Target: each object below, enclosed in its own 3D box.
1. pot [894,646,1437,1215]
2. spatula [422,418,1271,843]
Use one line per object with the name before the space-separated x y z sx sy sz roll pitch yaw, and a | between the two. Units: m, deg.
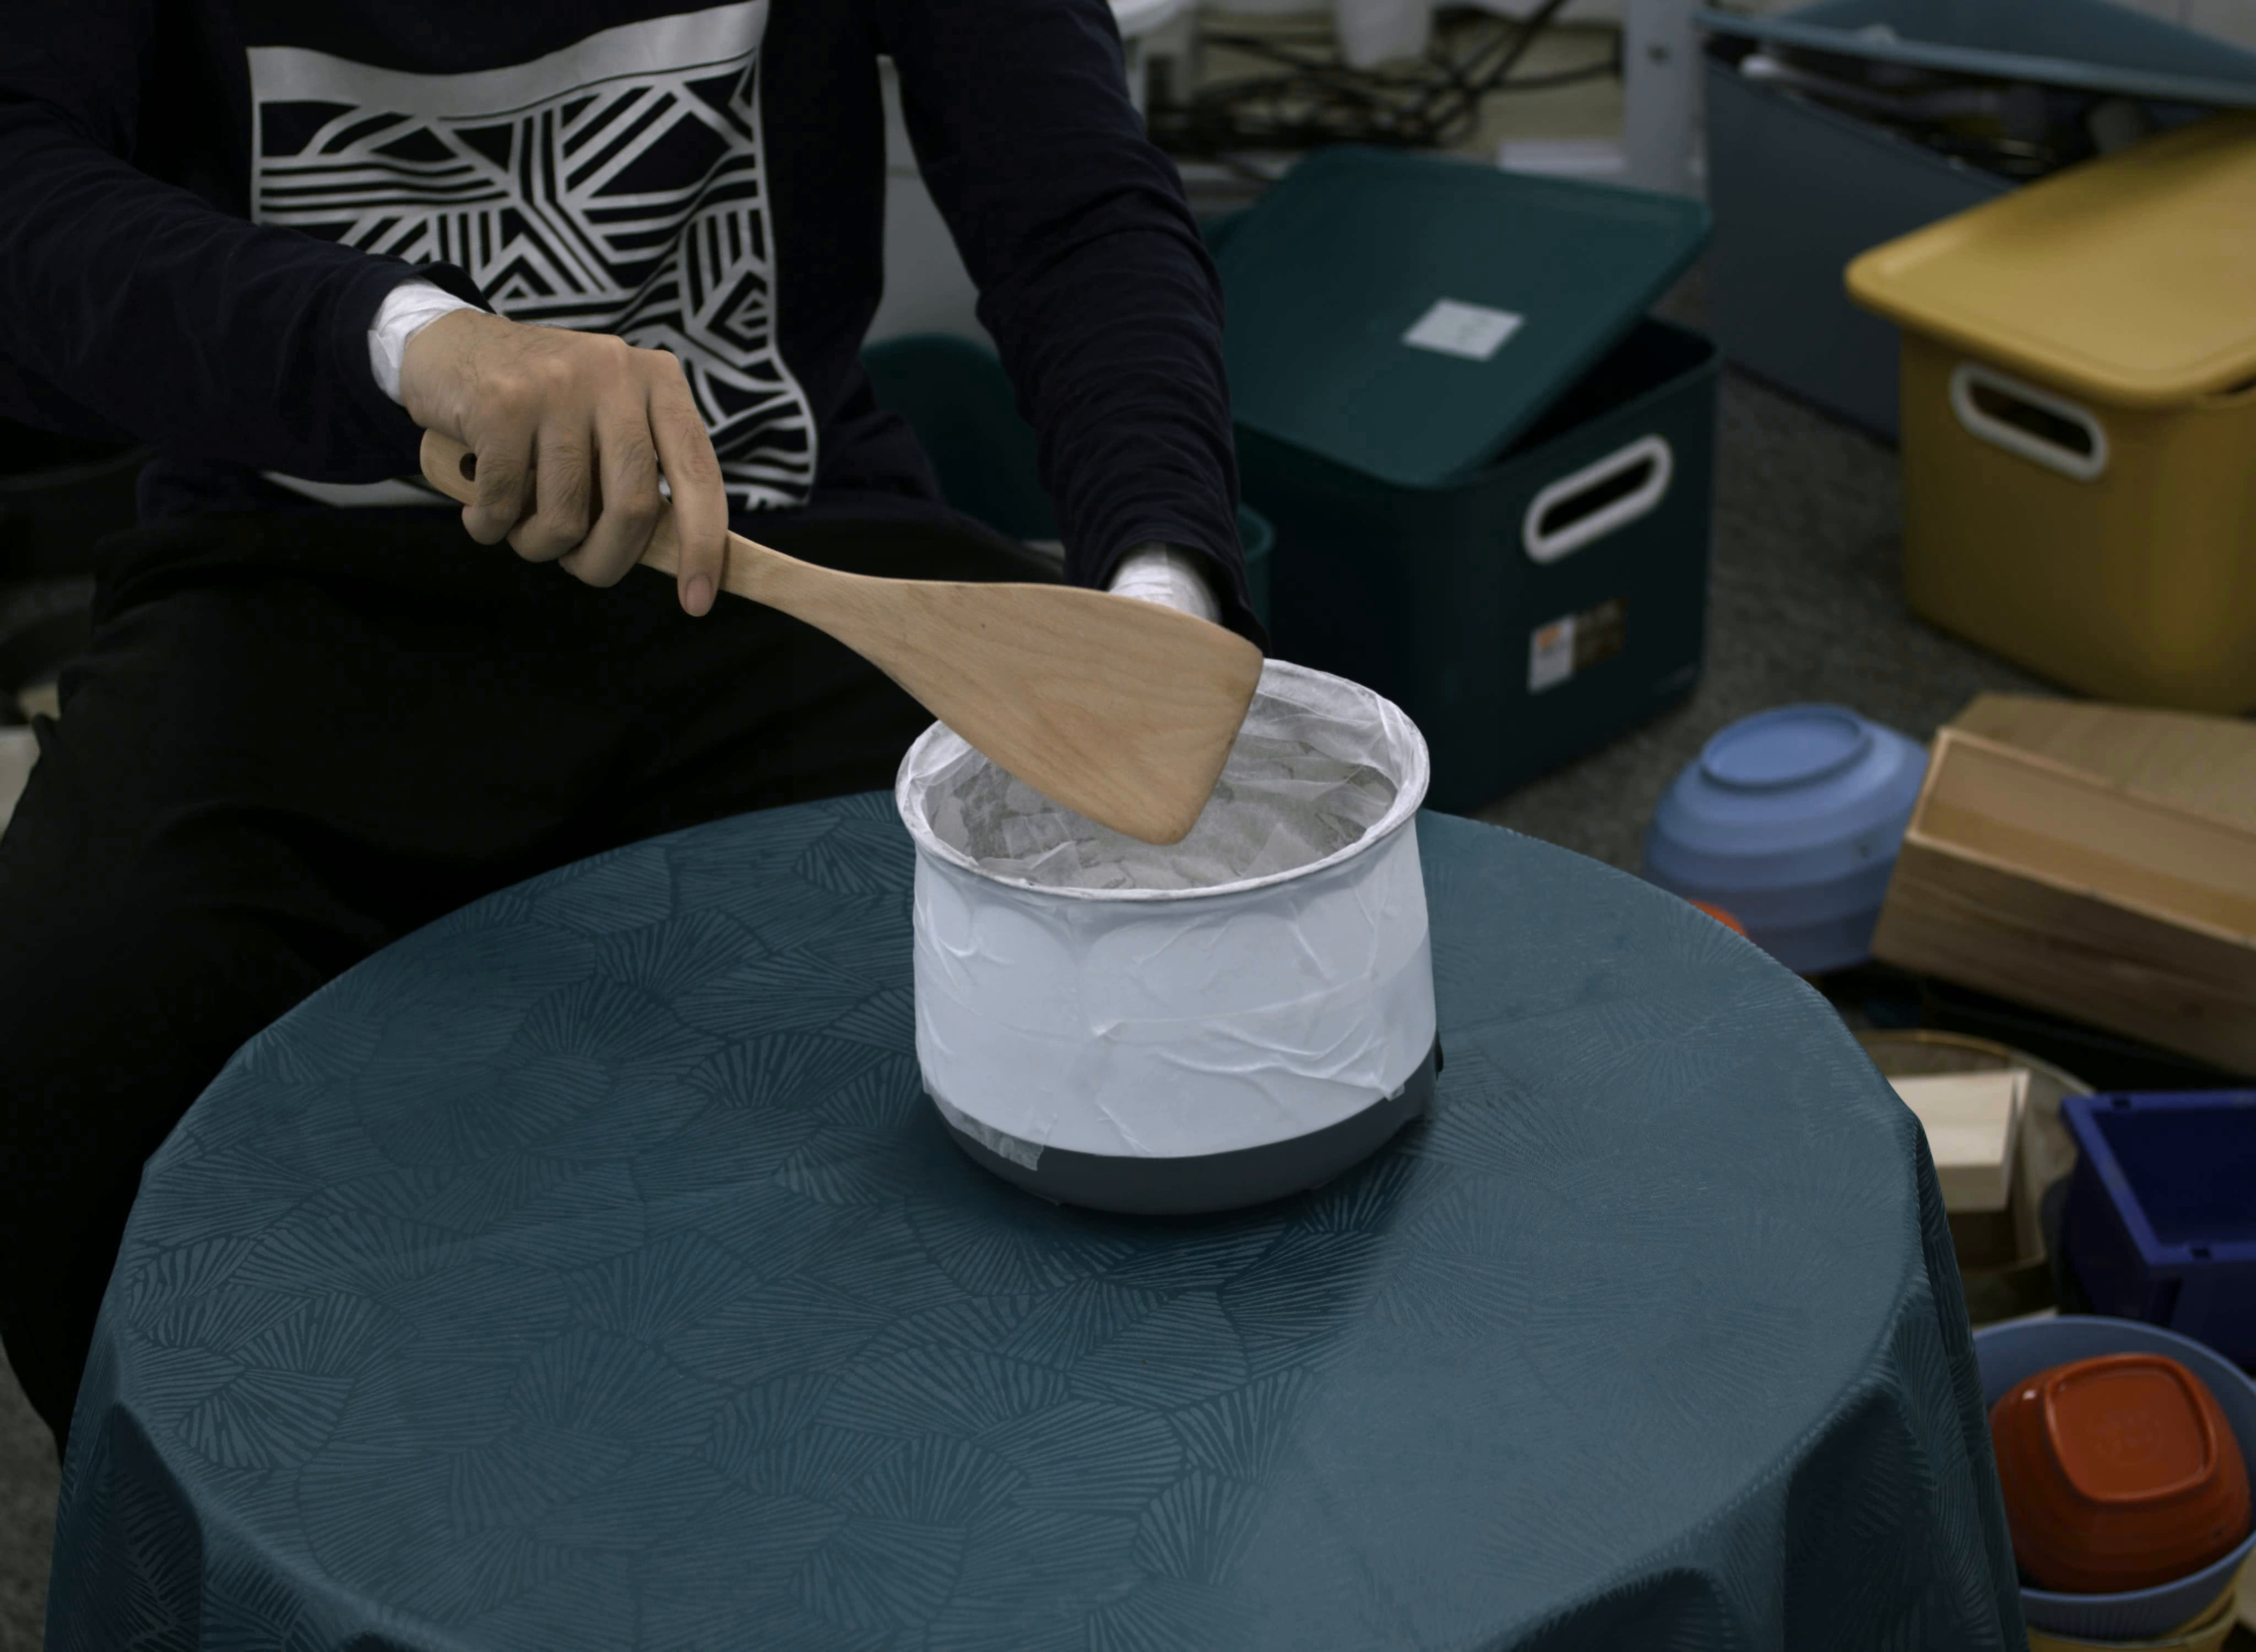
pot | 0.012 0.022 1.898 0.178 0.135 0.237 -3 28 -3
spatula | -0.102 -0.077 1.863 0.326 0.079 0.016 21 16 26
